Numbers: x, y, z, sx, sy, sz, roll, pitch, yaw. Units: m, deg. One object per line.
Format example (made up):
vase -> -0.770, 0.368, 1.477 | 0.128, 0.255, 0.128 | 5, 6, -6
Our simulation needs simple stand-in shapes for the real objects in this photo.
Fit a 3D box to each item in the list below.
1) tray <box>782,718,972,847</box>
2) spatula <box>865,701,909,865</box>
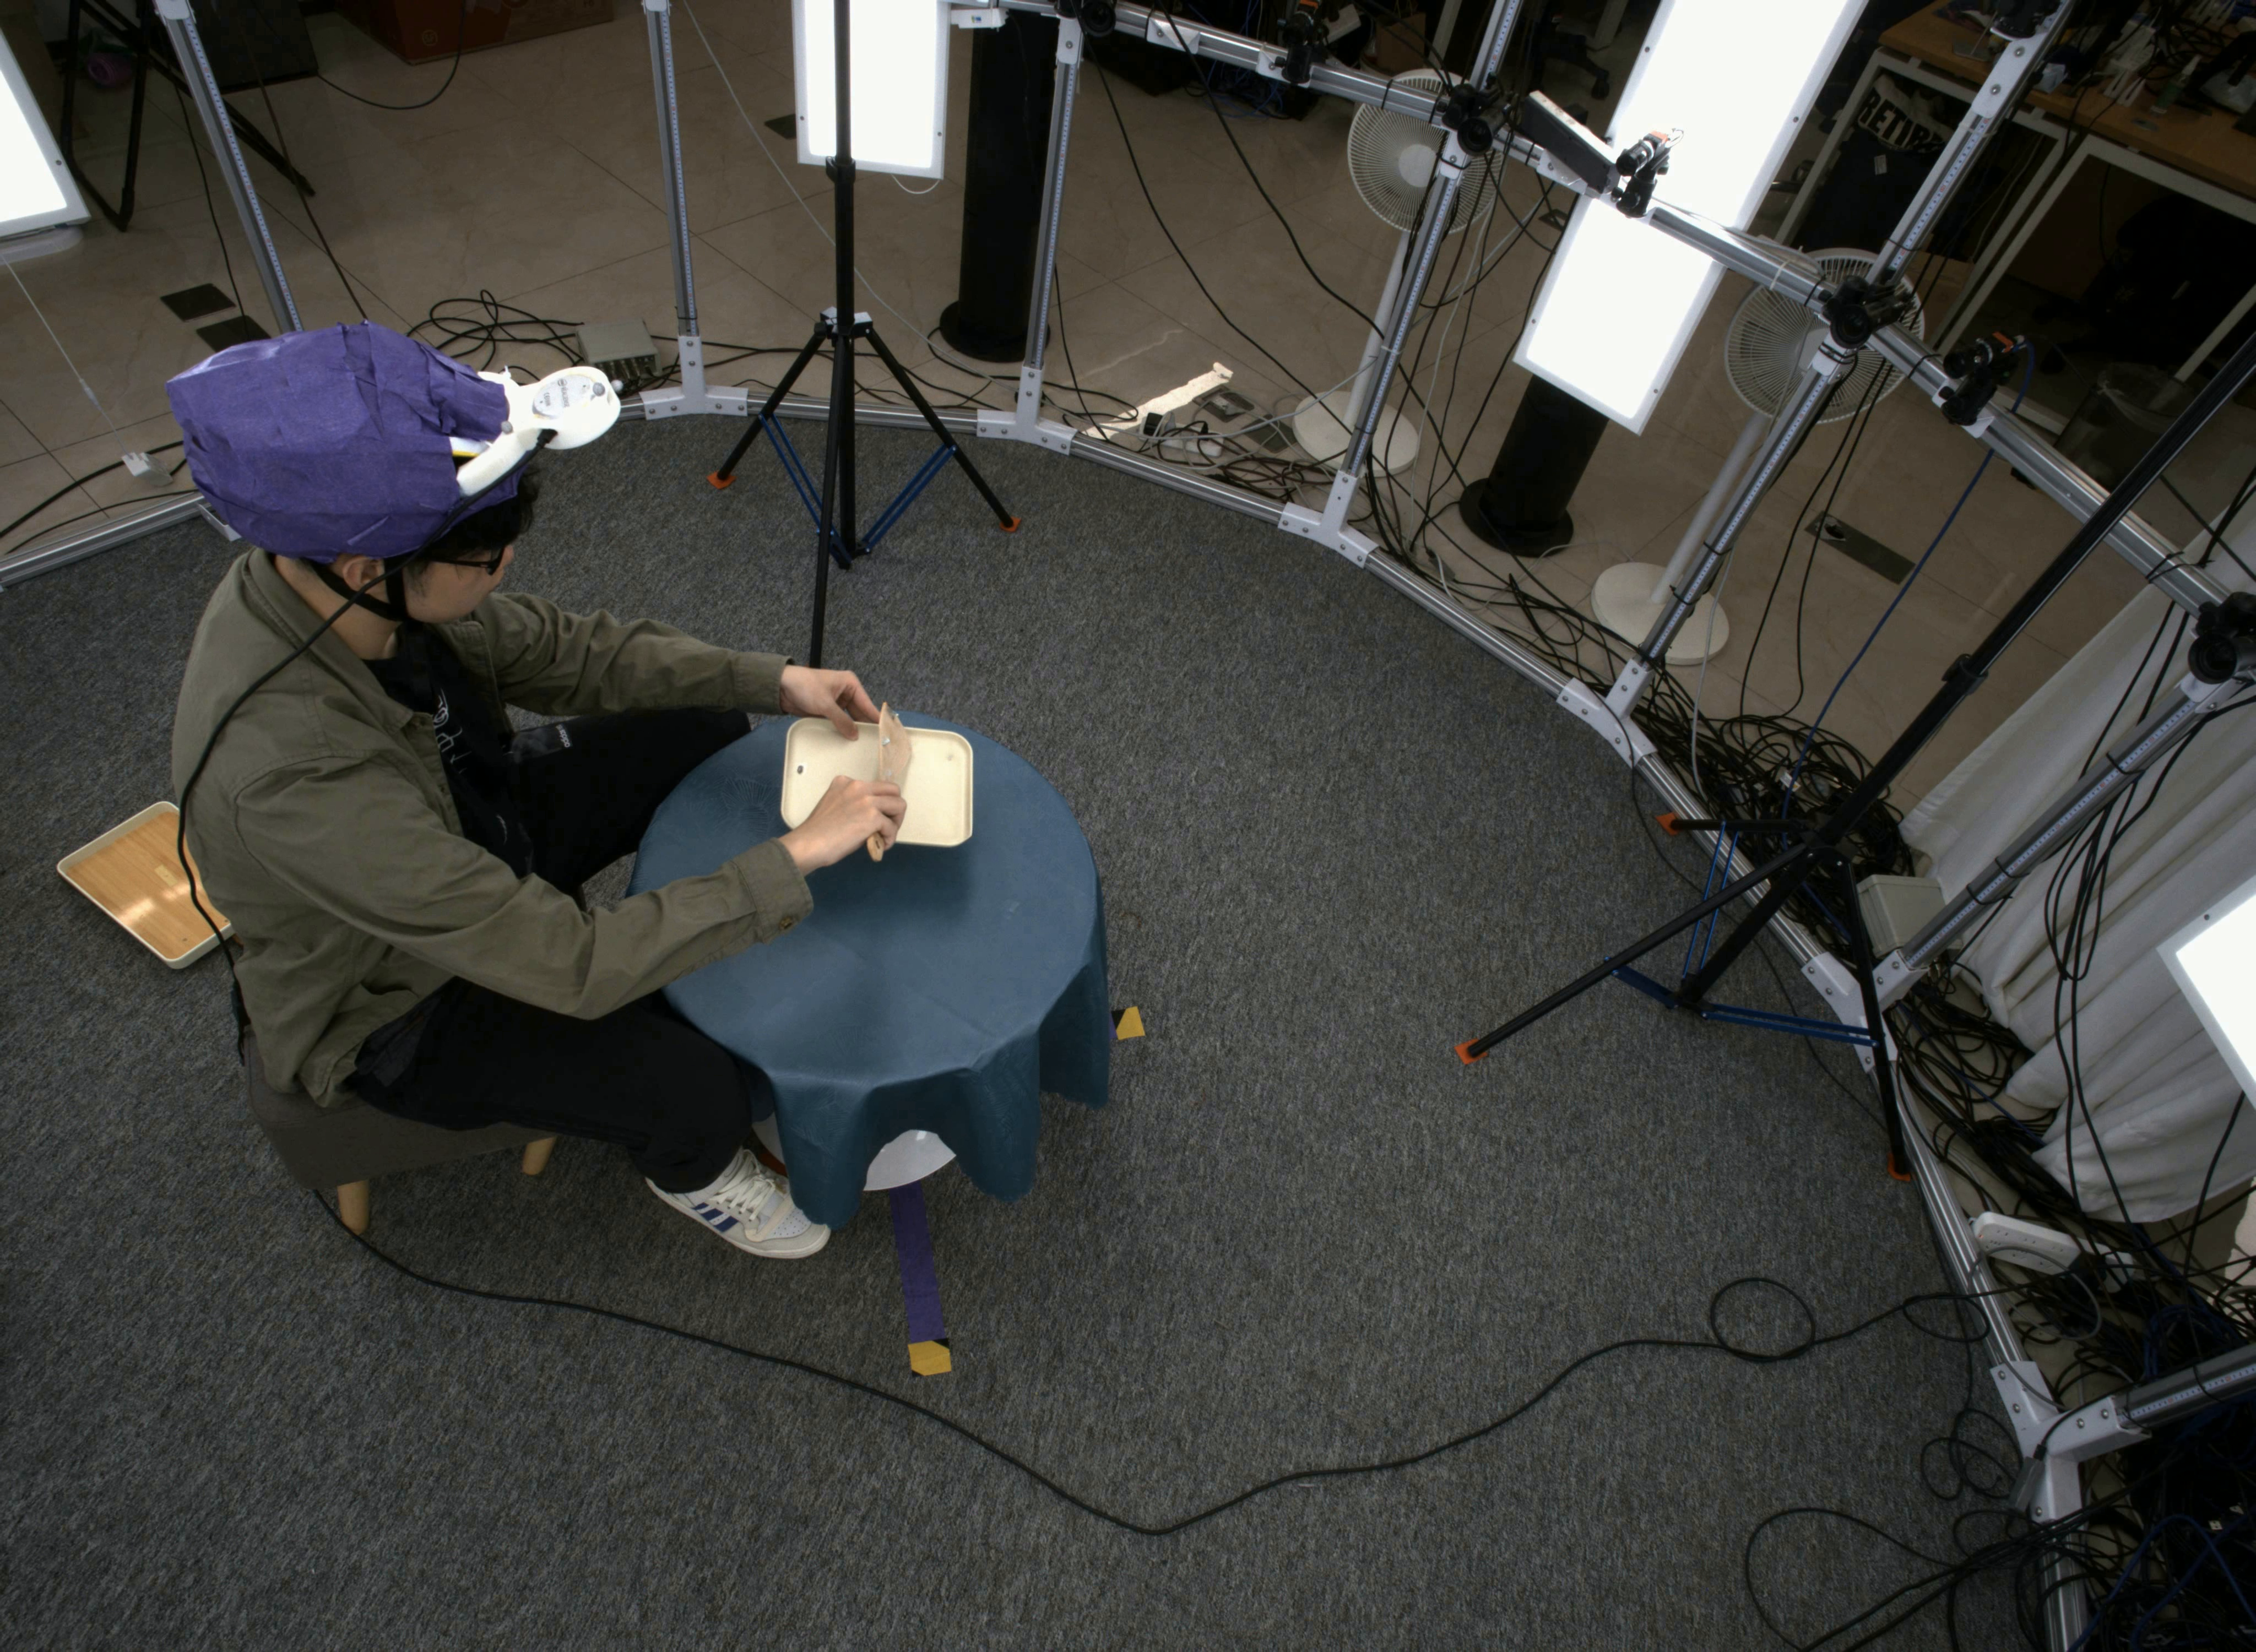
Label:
tray -> -0.318, -0.054, 1.660 | 0.241, 0.017, 0.169 | 5, 62, -18
spatula -> -0.289, -0.051, 1.537 | 0.016, 0.083, 0.319 | -18, 32, 5
